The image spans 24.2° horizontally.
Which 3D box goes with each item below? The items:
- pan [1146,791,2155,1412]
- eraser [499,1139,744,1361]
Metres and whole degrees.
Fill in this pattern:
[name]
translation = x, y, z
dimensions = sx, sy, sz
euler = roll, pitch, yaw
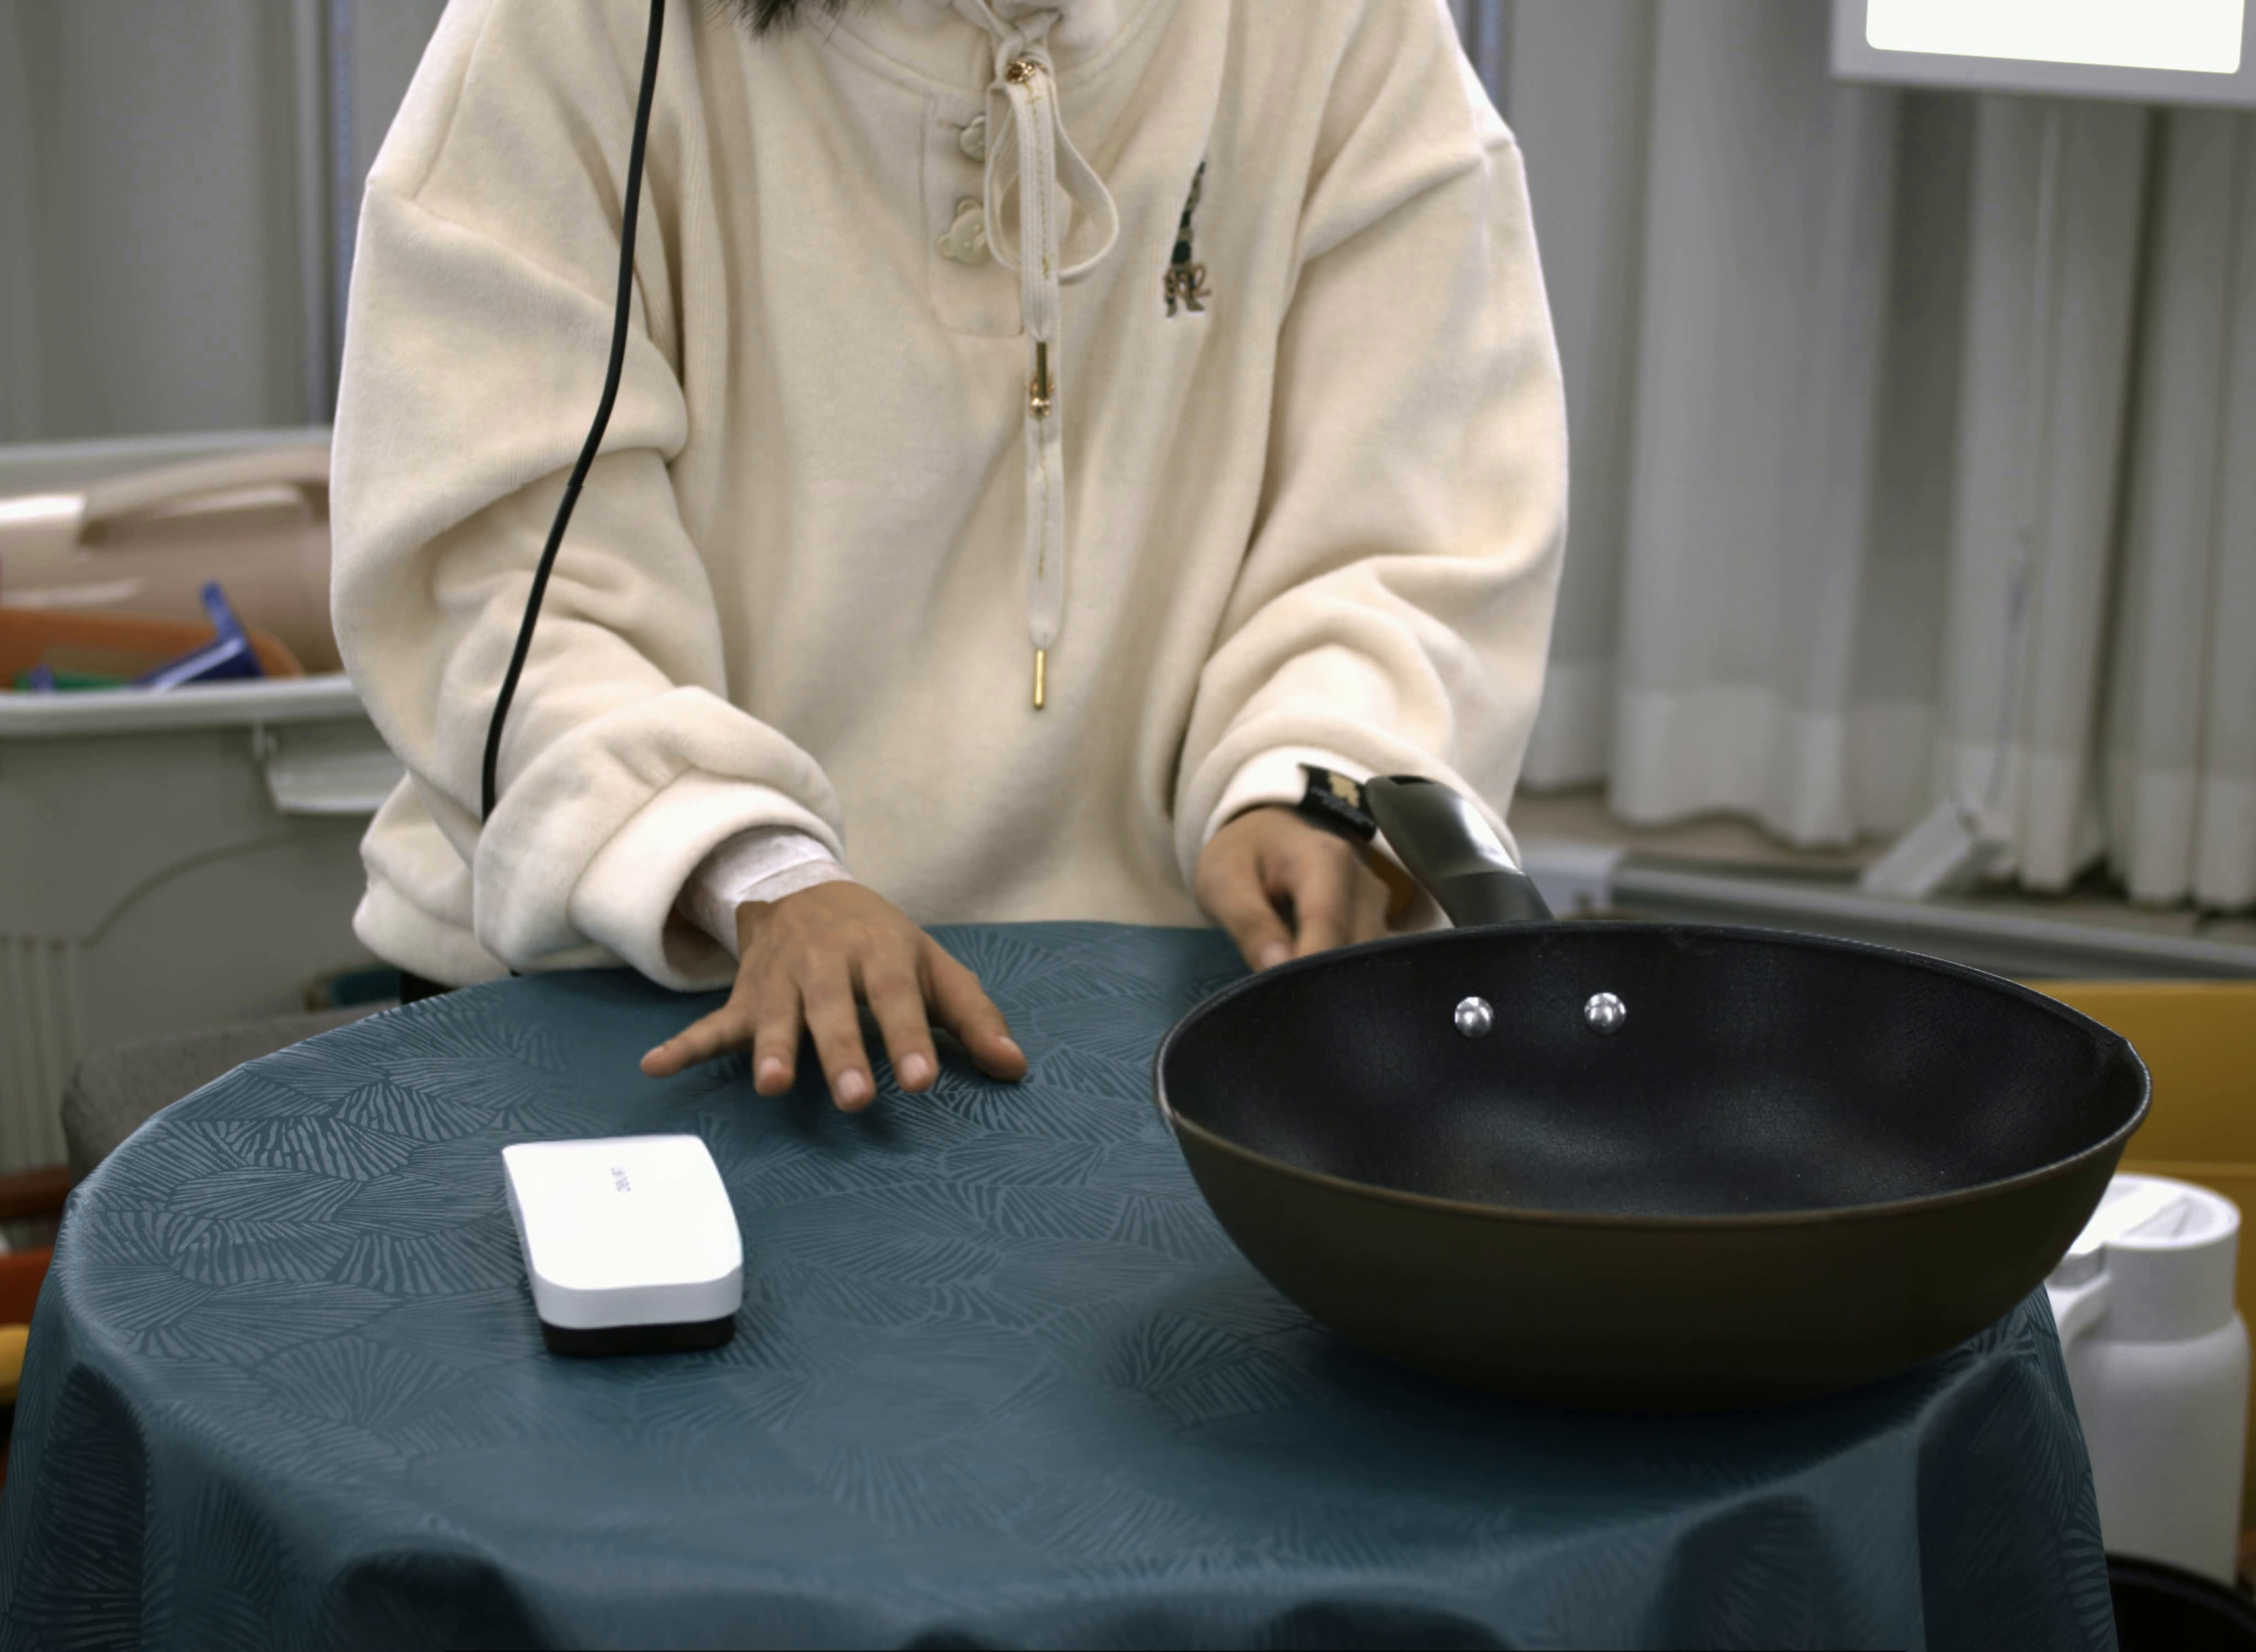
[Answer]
[pan]
translation = 0.132, 0.080, 1.587
dimensions = 0.288, 0.087, 0.459
euler = -2, 15, -10
[eraser]
translation = -0.148, 0.119, 1.536
dimensions = 0.063, 0.035, 0.130
euler = 0, 16, -12
